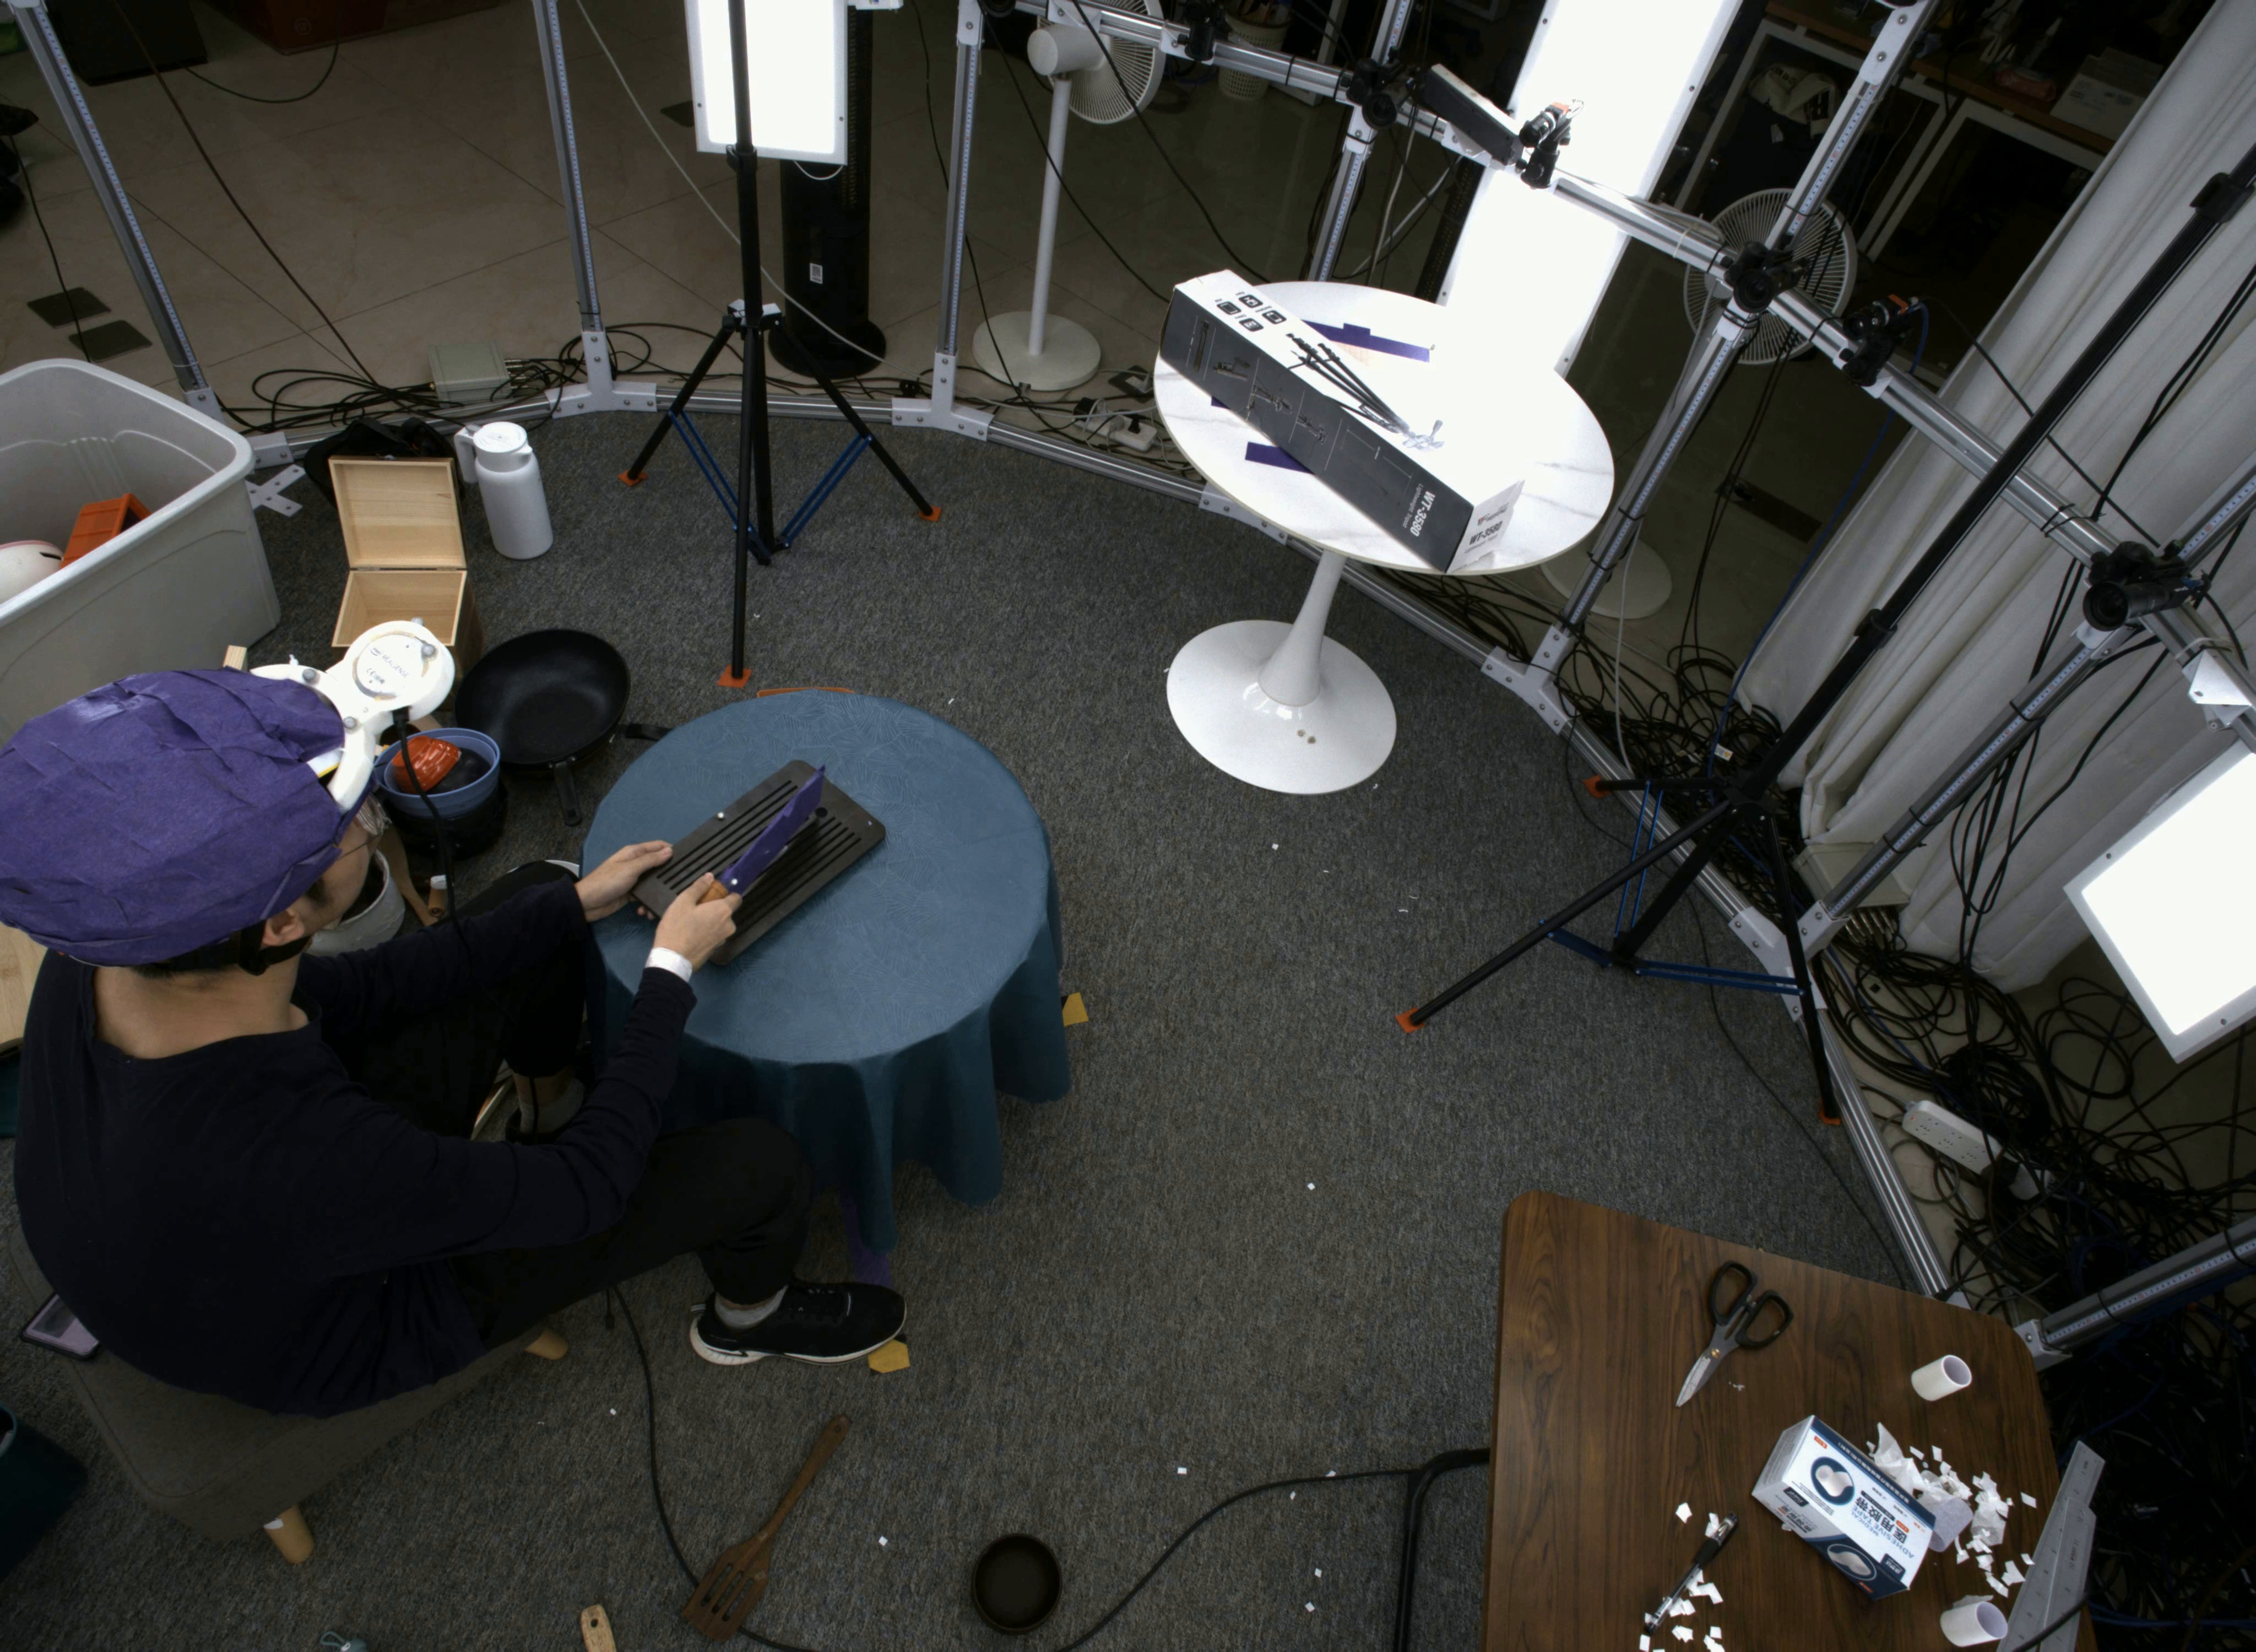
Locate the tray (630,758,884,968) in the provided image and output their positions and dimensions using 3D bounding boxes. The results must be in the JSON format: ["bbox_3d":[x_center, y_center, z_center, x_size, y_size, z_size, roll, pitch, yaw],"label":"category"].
[{"bbox_3d":[-0.472,0.040,1.662,0.168,0.019,0.306,39,51,8],"label":"tray"}]

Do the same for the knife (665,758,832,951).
[{"bbox_3d":[-0.454,0.045,1.581,0.032,0.105,0.314,30,52,6],"label":"knife"}]
